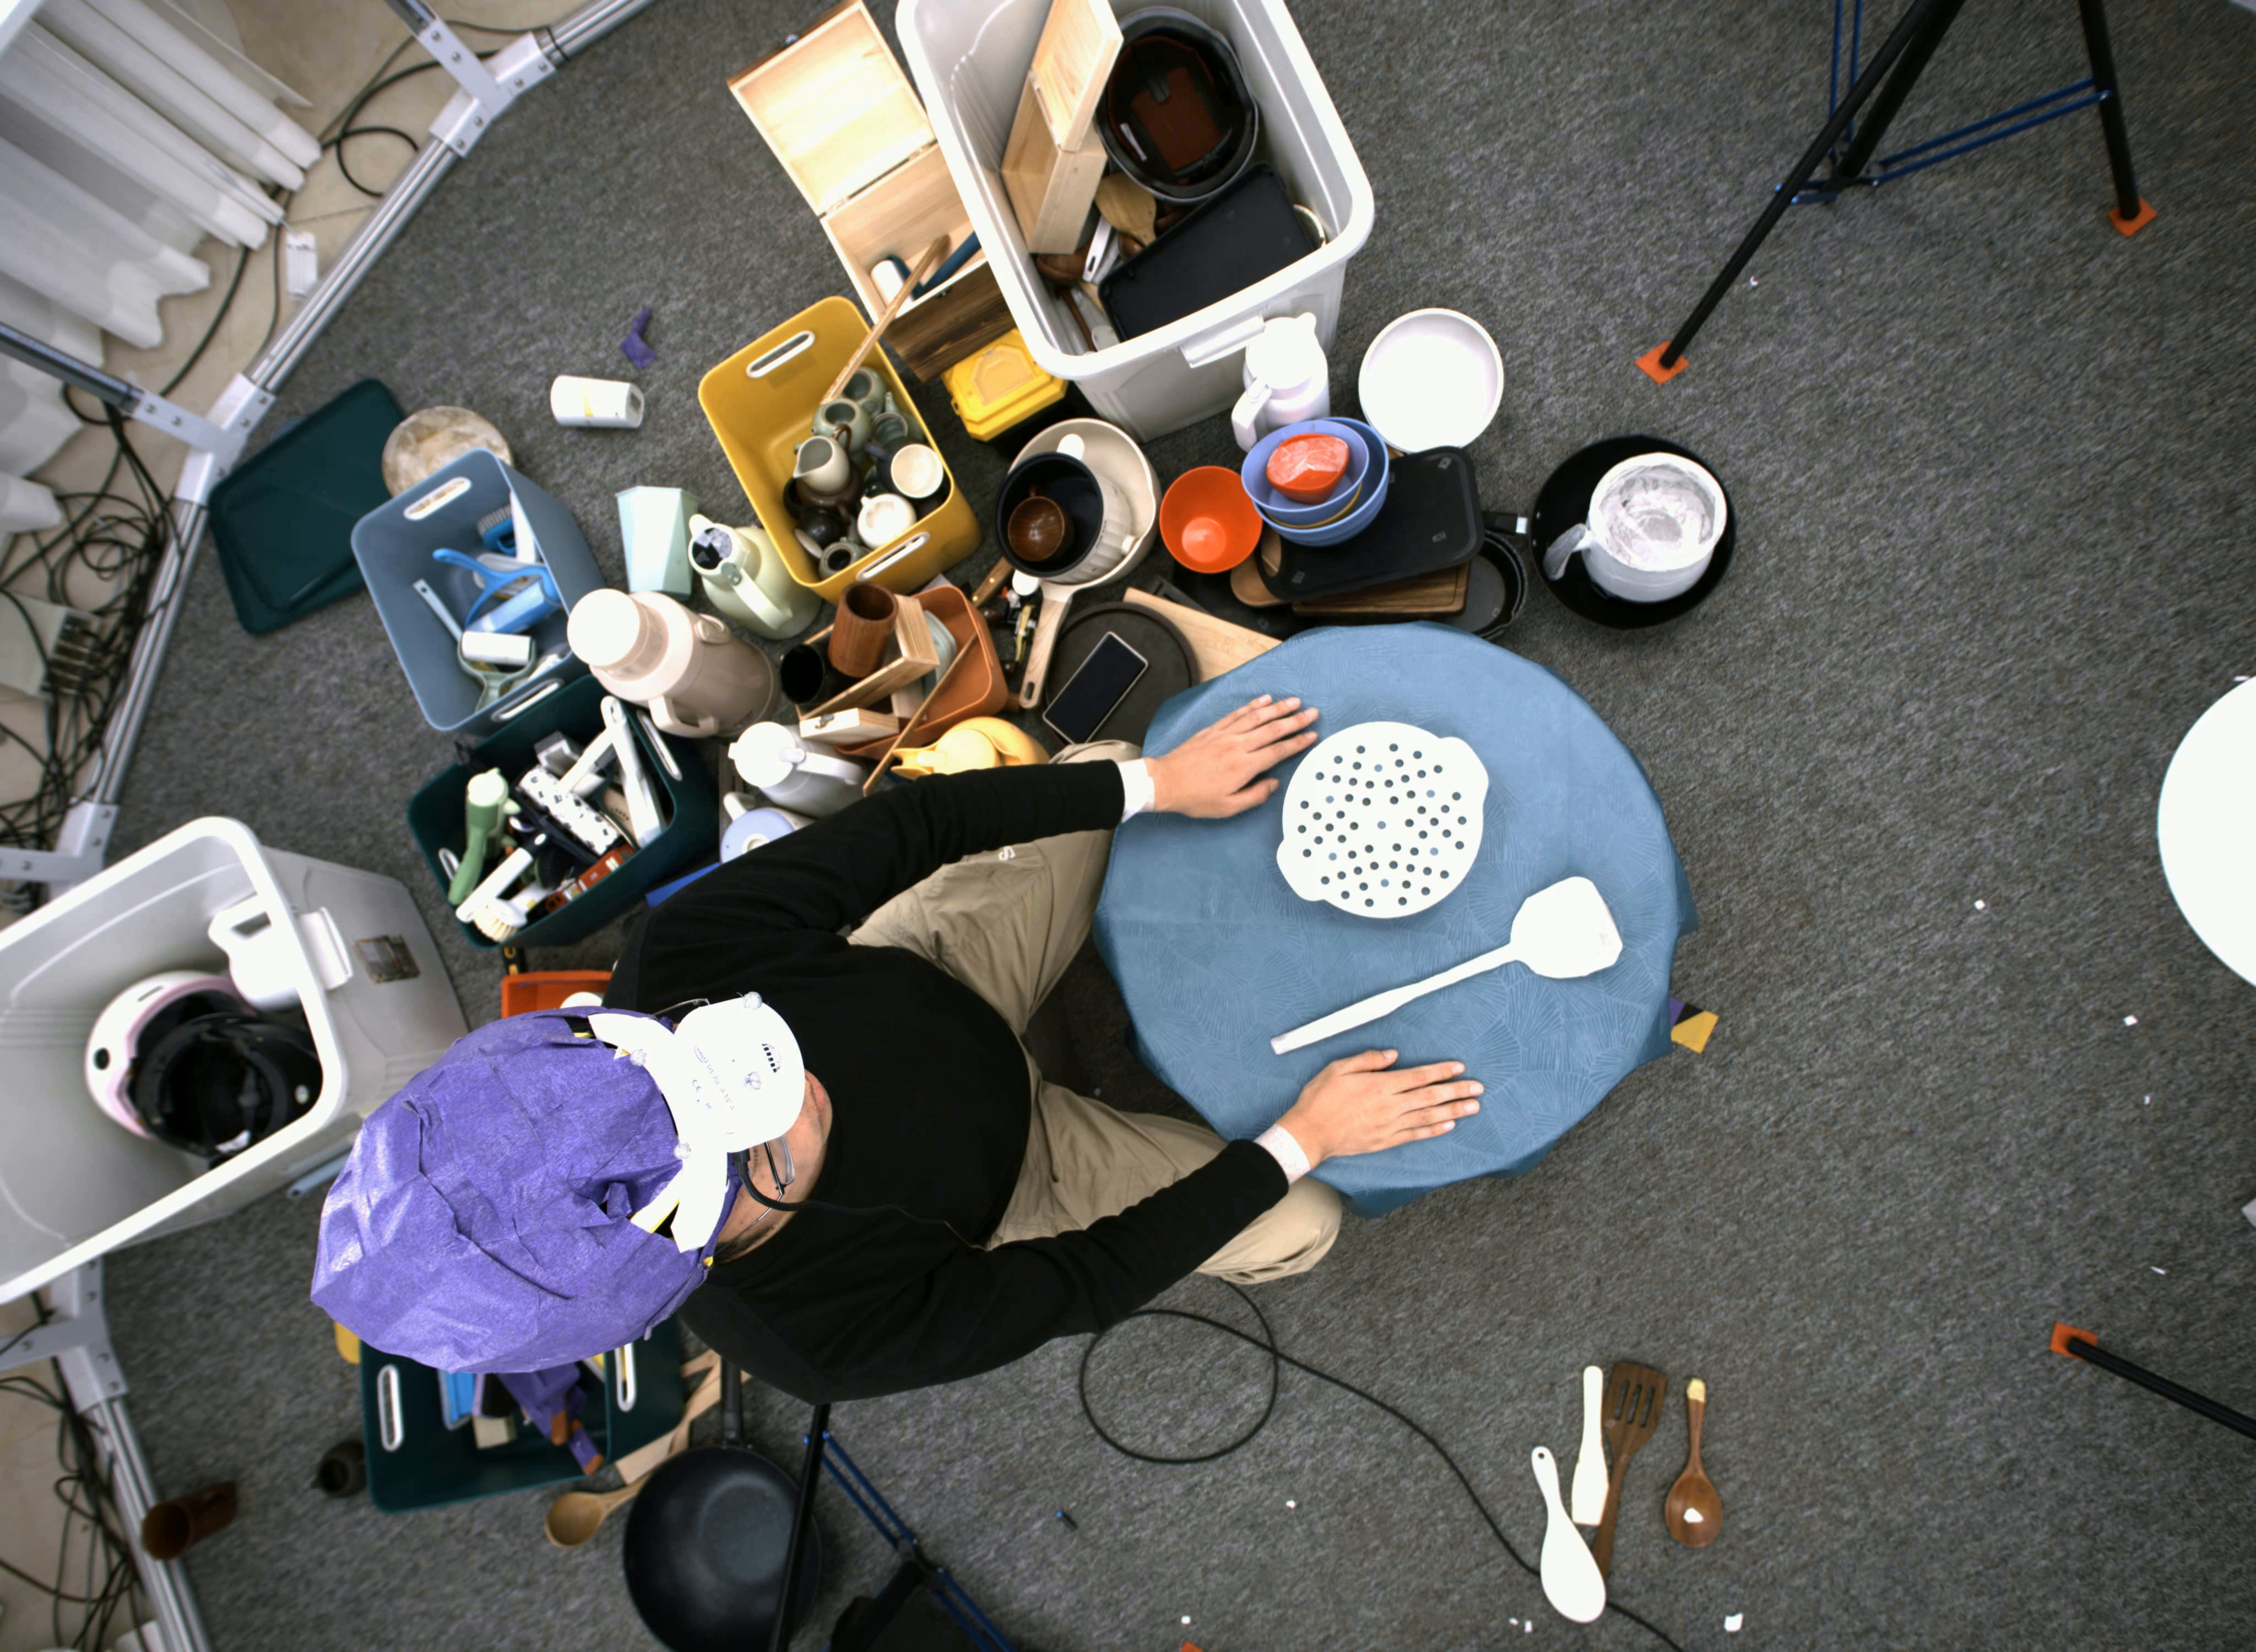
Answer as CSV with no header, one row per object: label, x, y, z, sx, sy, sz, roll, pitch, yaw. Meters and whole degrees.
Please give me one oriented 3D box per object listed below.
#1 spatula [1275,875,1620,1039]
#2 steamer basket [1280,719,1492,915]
spatula,0.324,0.154,1.426,0.367,0.045,0.098,-22,85,8
steamer basket,0.267,-0.008,1.430,0.232,0.069,0.200,-33,80,8
